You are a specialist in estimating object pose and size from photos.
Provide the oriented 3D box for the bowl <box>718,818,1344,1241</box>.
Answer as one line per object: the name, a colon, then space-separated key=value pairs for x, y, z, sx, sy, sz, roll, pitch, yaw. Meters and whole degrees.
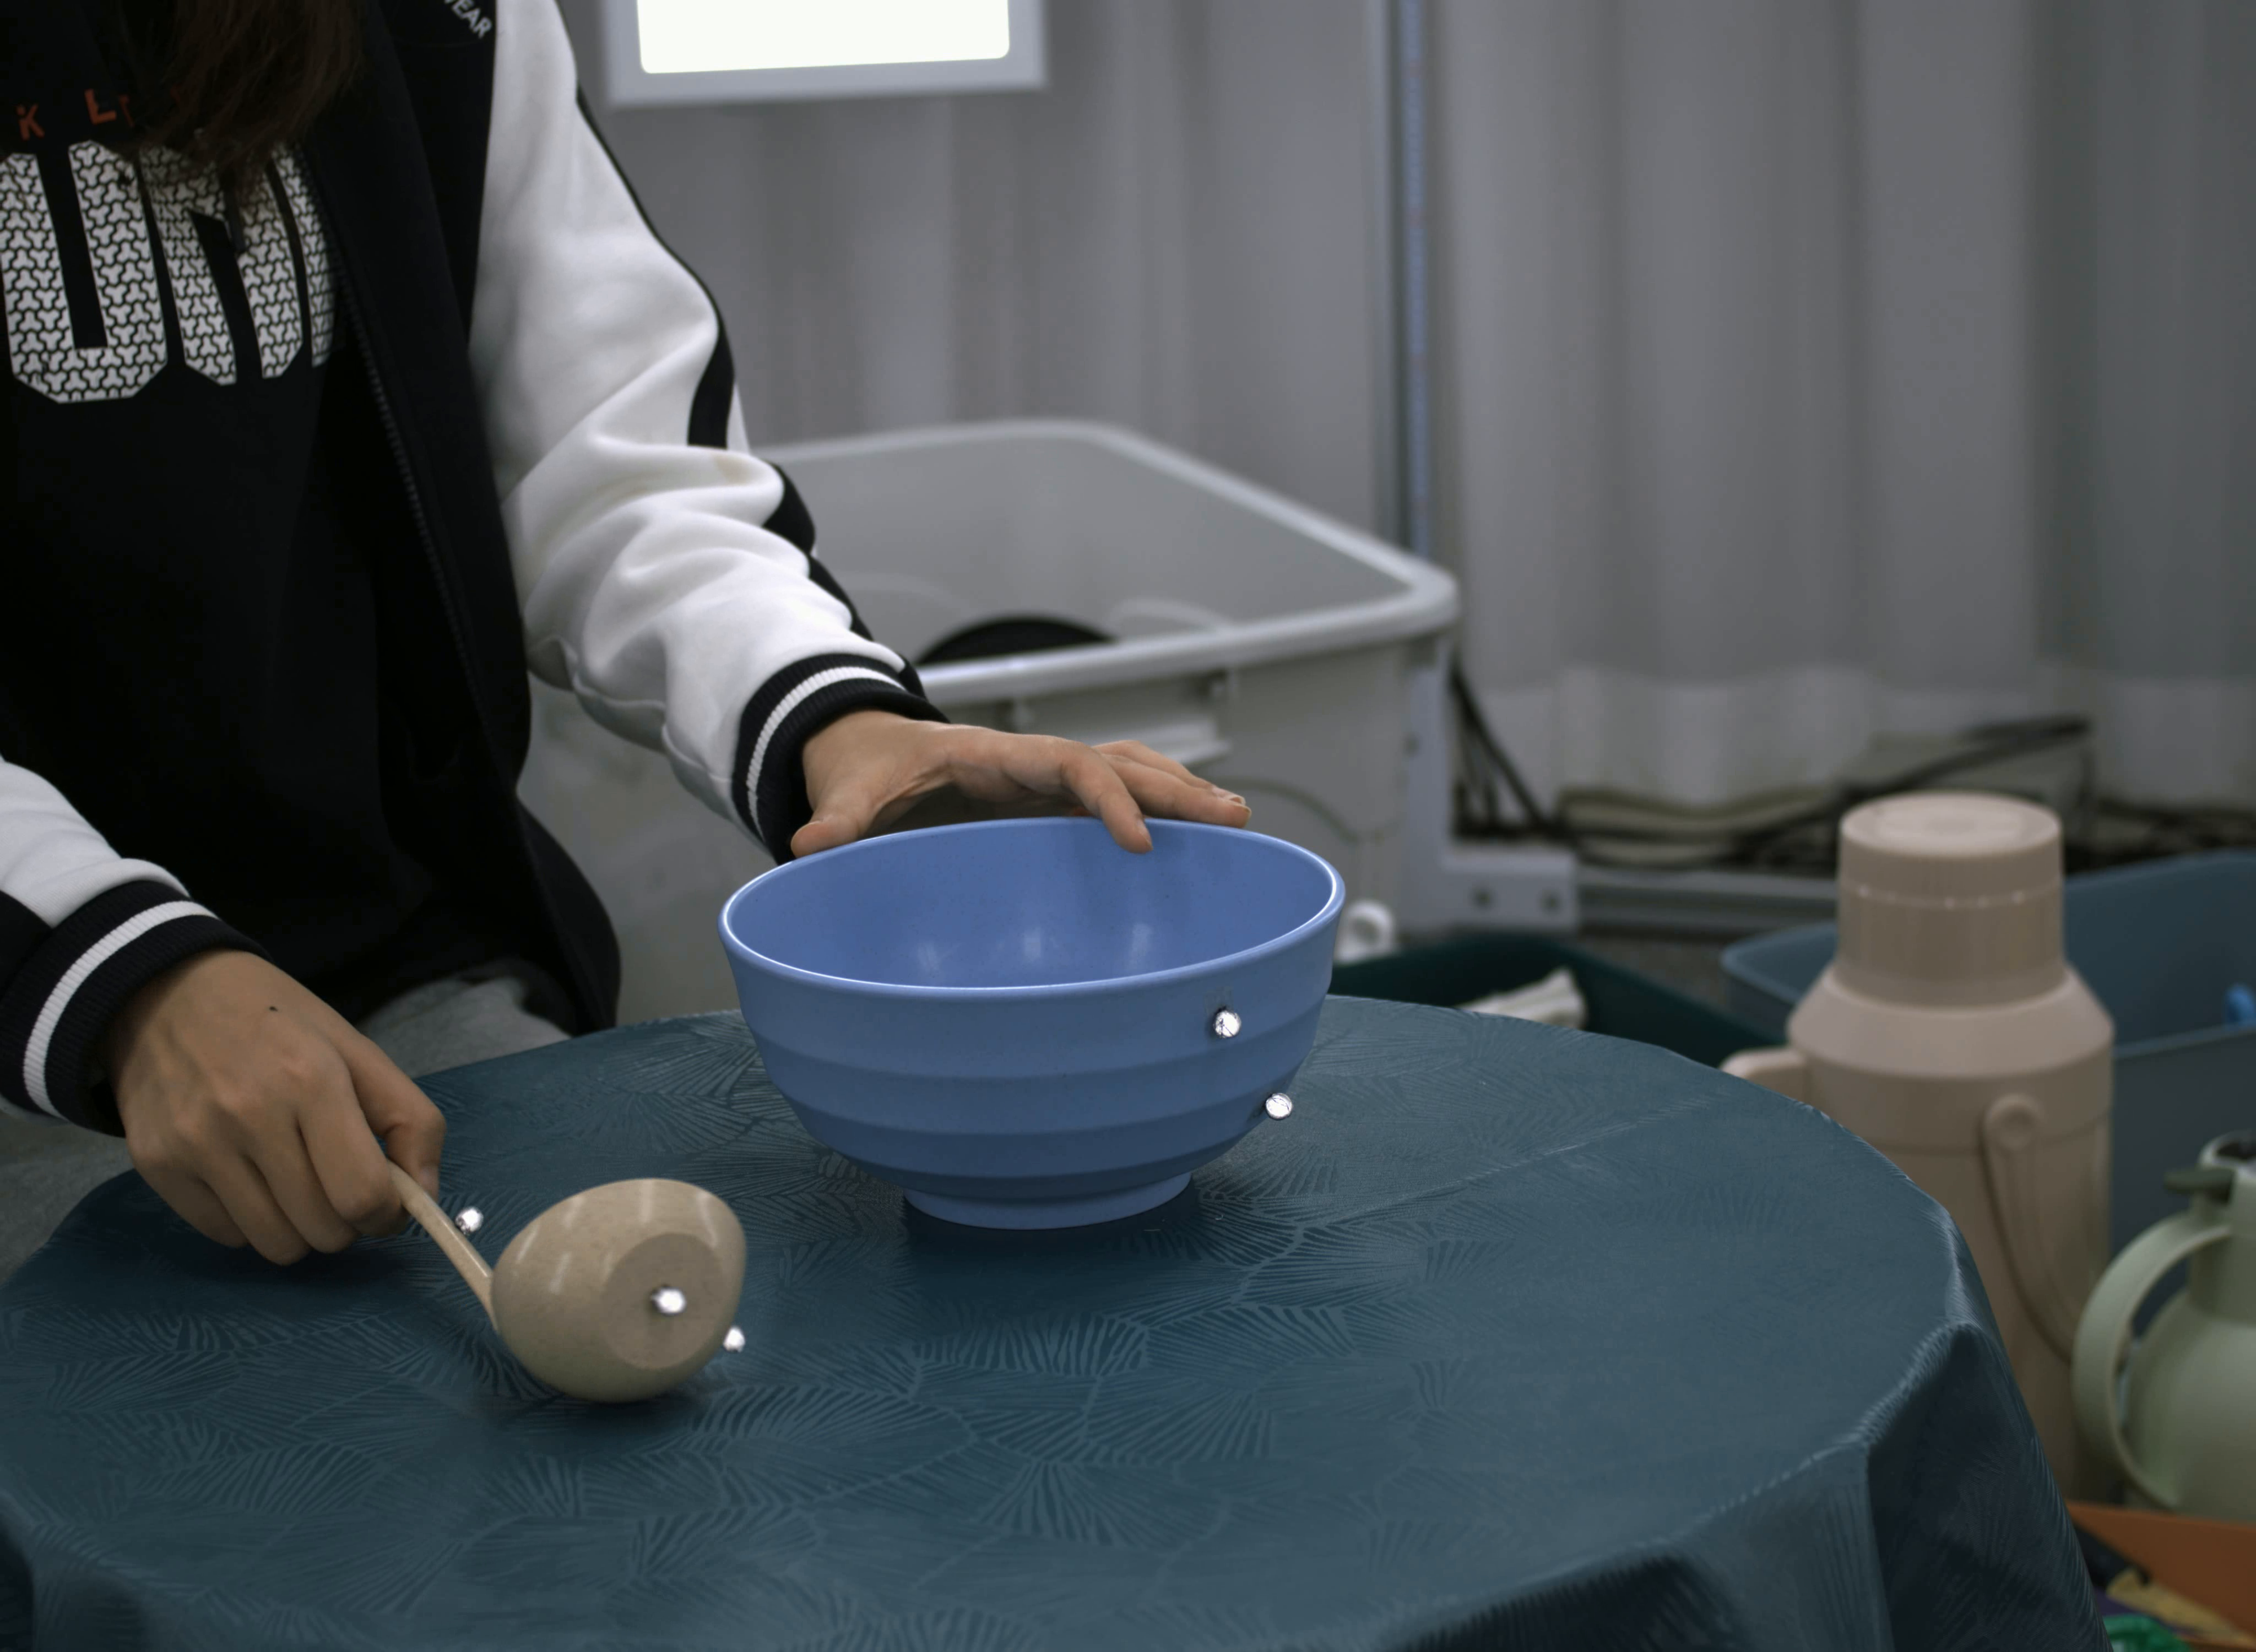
bowl: x=-0.027 y=0.070 z=1.716 sx=0.196 sy=0.095 sz=0.198 roll=-4 pitch=15 yaw=1

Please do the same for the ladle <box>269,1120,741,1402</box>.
ladle: x=-0.192 y=0.101 z=1.633 sx=0.071 sy=0.073 sz=0.257 roll=23 pitch=4 yaw=-33
